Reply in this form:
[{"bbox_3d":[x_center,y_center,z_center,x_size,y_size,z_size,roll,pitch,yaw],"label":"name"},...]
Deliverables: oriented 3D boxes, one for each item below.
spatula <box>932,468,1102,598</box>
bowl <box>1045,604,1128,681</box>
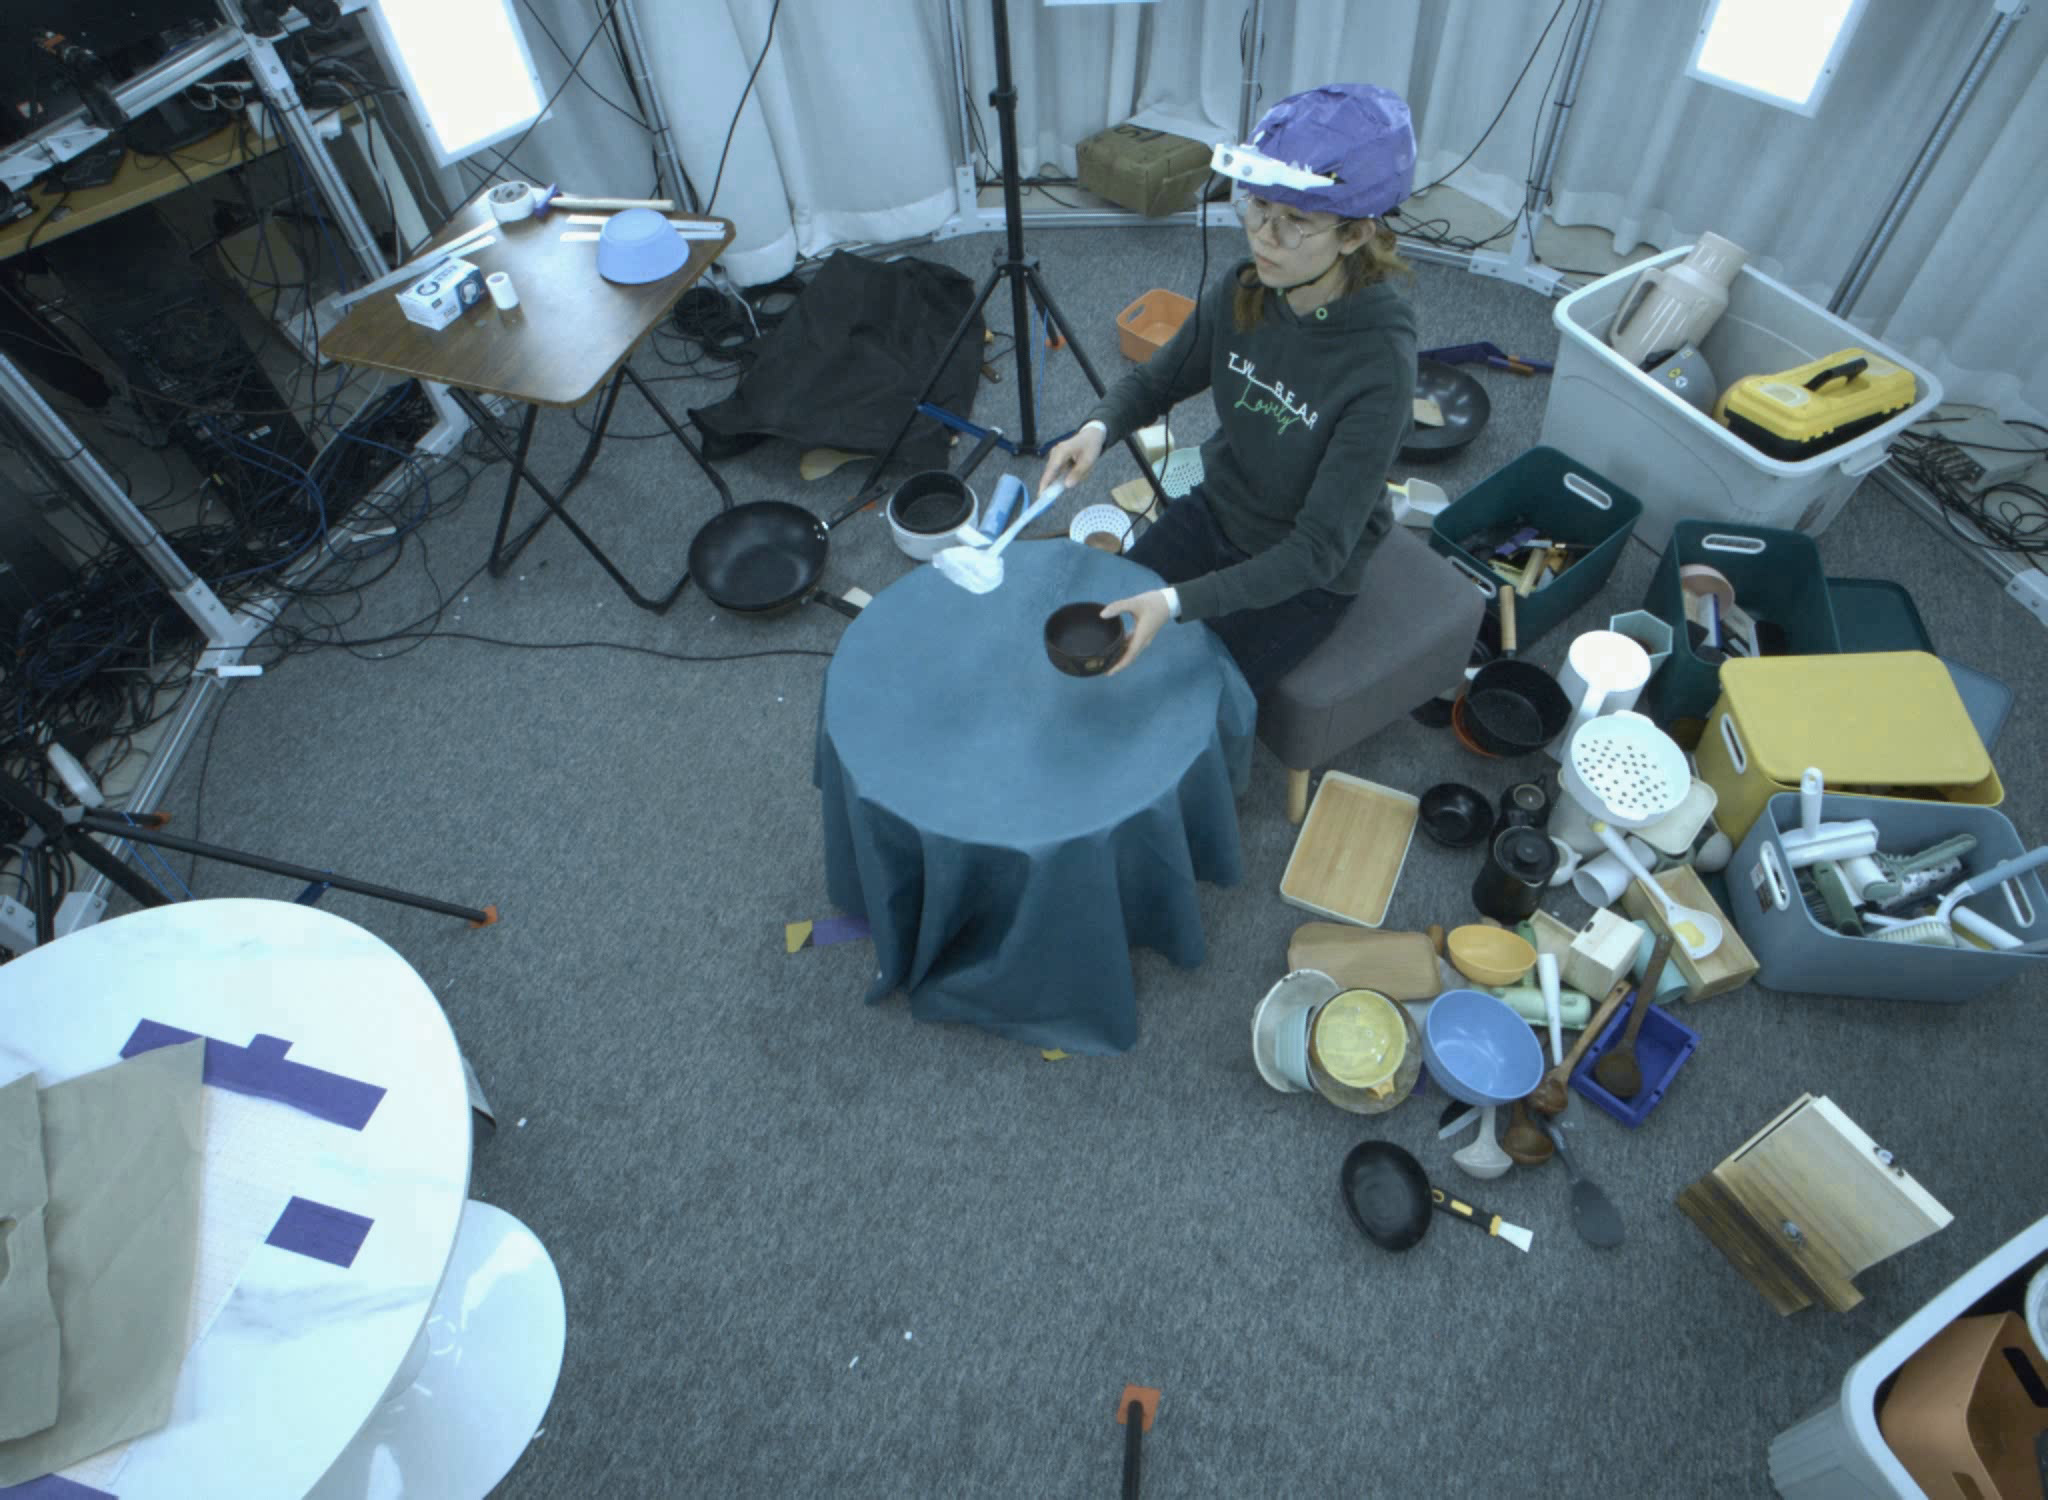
[{"bbox_3d":[0.005,-0.339,1.816,0.098,0.045,0.367,37,61,12],"label":"spatula"},{"bbox_3d":[0.089,-0.144,1.755,0.118,0.070,0.117,-1,49,2],"label":"bowl"}]
